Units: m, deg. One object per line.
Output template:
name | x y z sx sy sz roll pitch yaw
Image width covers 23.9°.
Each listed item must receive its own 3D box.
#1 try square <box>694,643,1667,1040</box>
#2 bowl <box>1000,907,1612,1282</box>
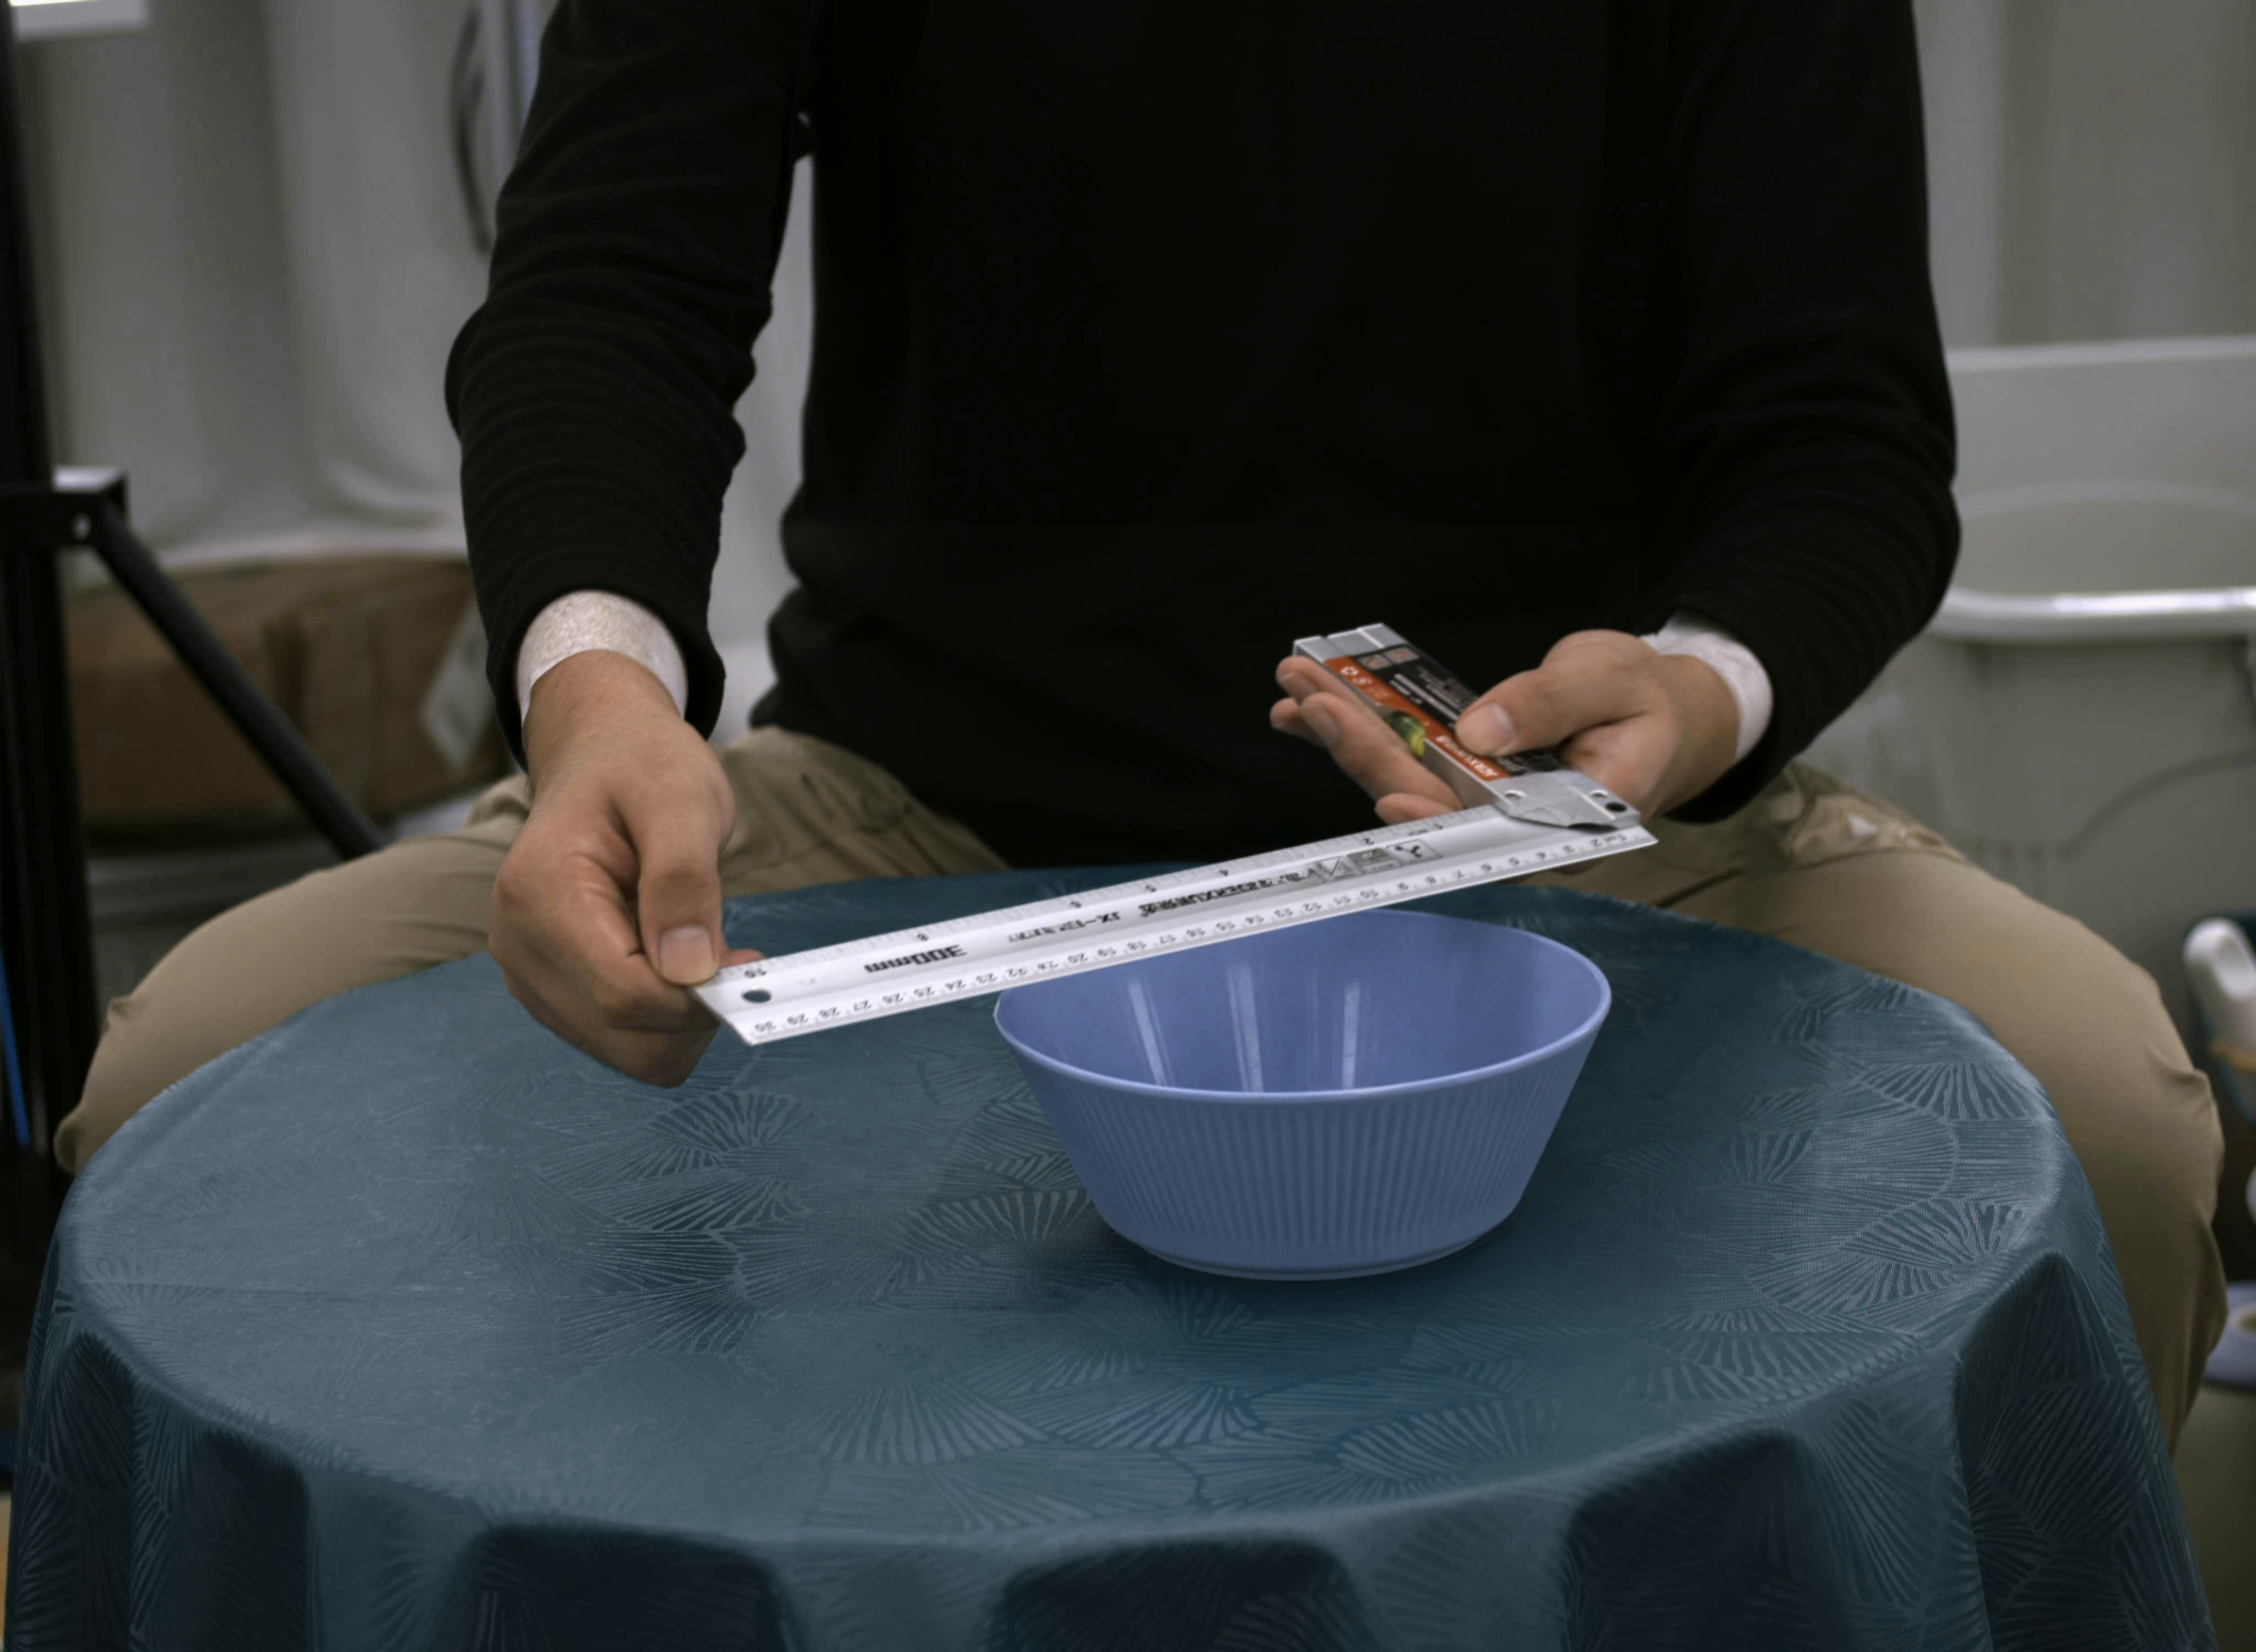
try square | -0.007 0.002 1.568 0.306 0.016 0.156 -12 28 -28
bowl | 0.052 0.080 1.522 0.175 0.070 0.177 -3 16 -1
